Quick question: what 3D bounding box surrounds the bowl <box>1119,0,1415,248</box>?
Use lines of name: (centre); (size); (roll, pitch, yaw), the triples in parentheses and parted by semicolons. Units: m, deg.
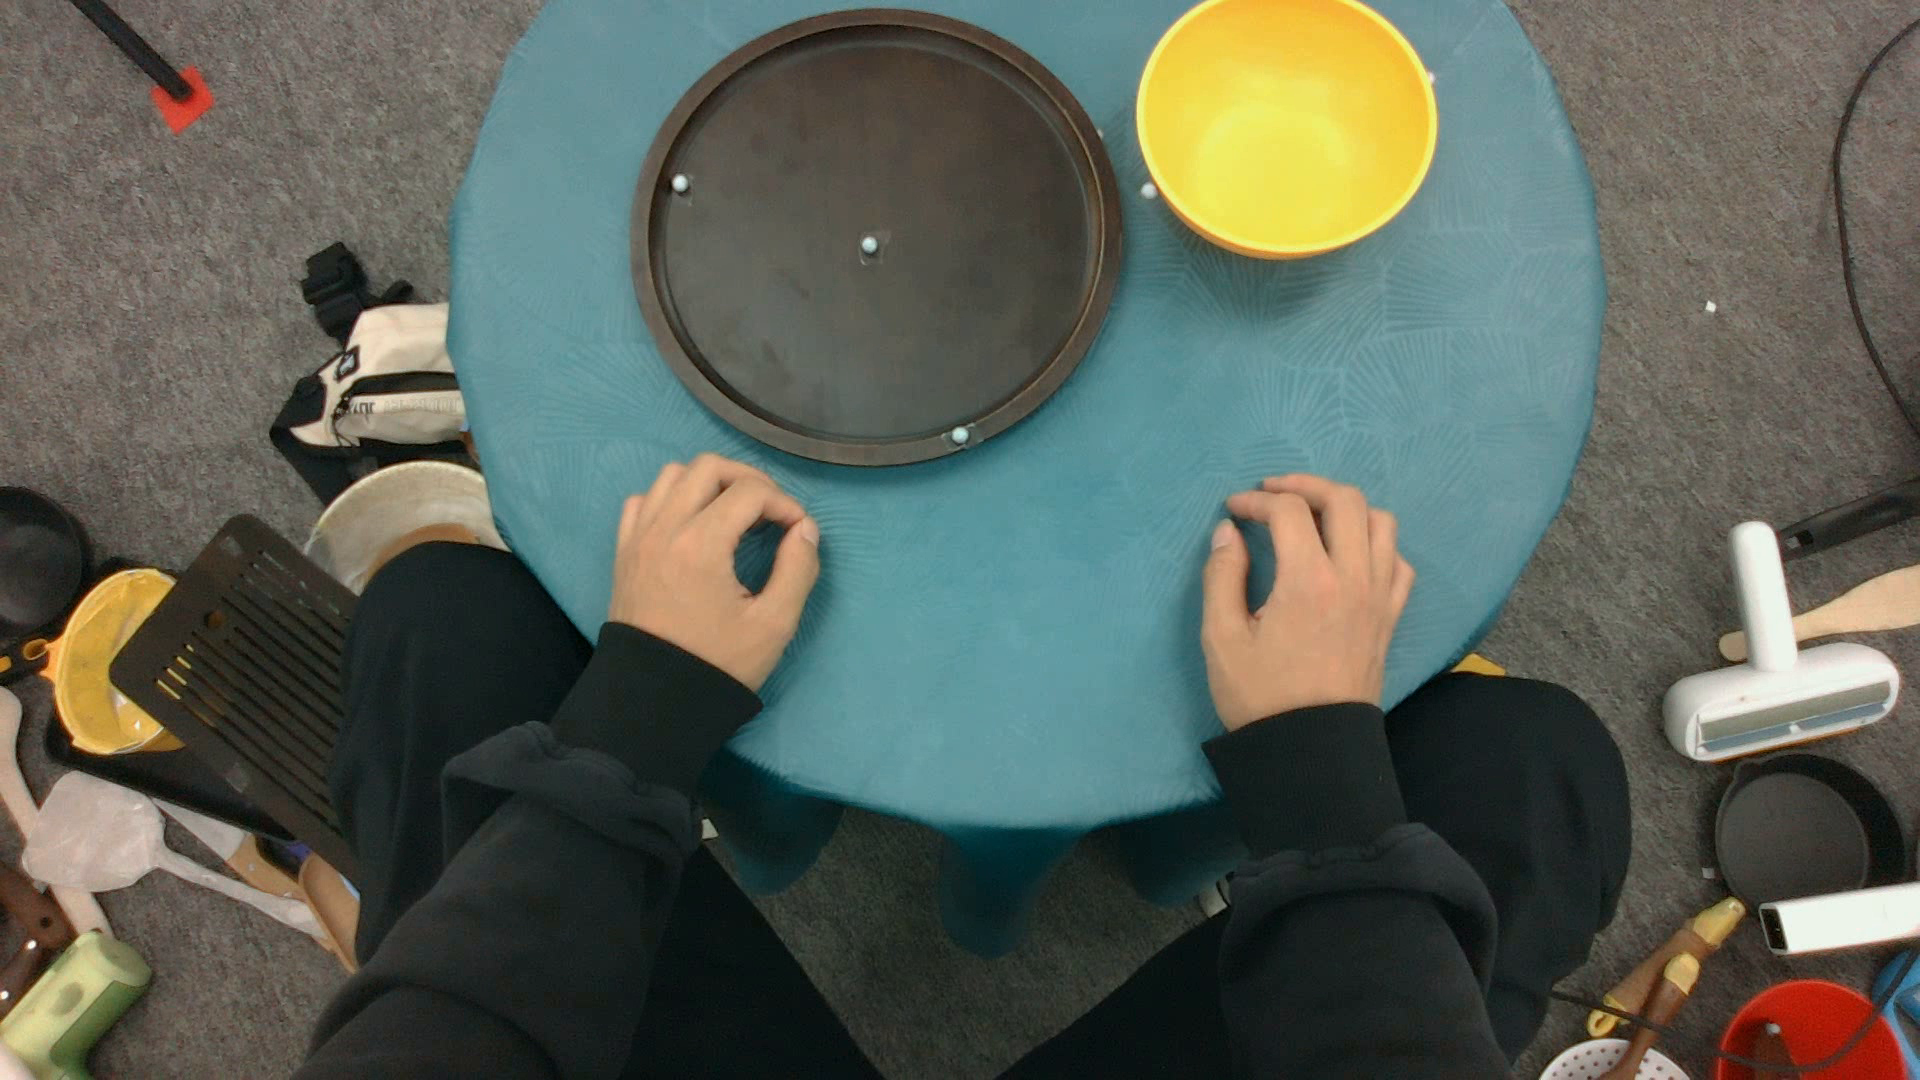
bowl: (0.152, -0.208, 0.704); (0.145, 0.060, 0.145); (0, 78, 2)

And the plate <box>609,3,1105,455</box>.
plate: (-0.052, -0.163, 0.711); (0.255, 0.029, 0.255); (0, 77, -2)
